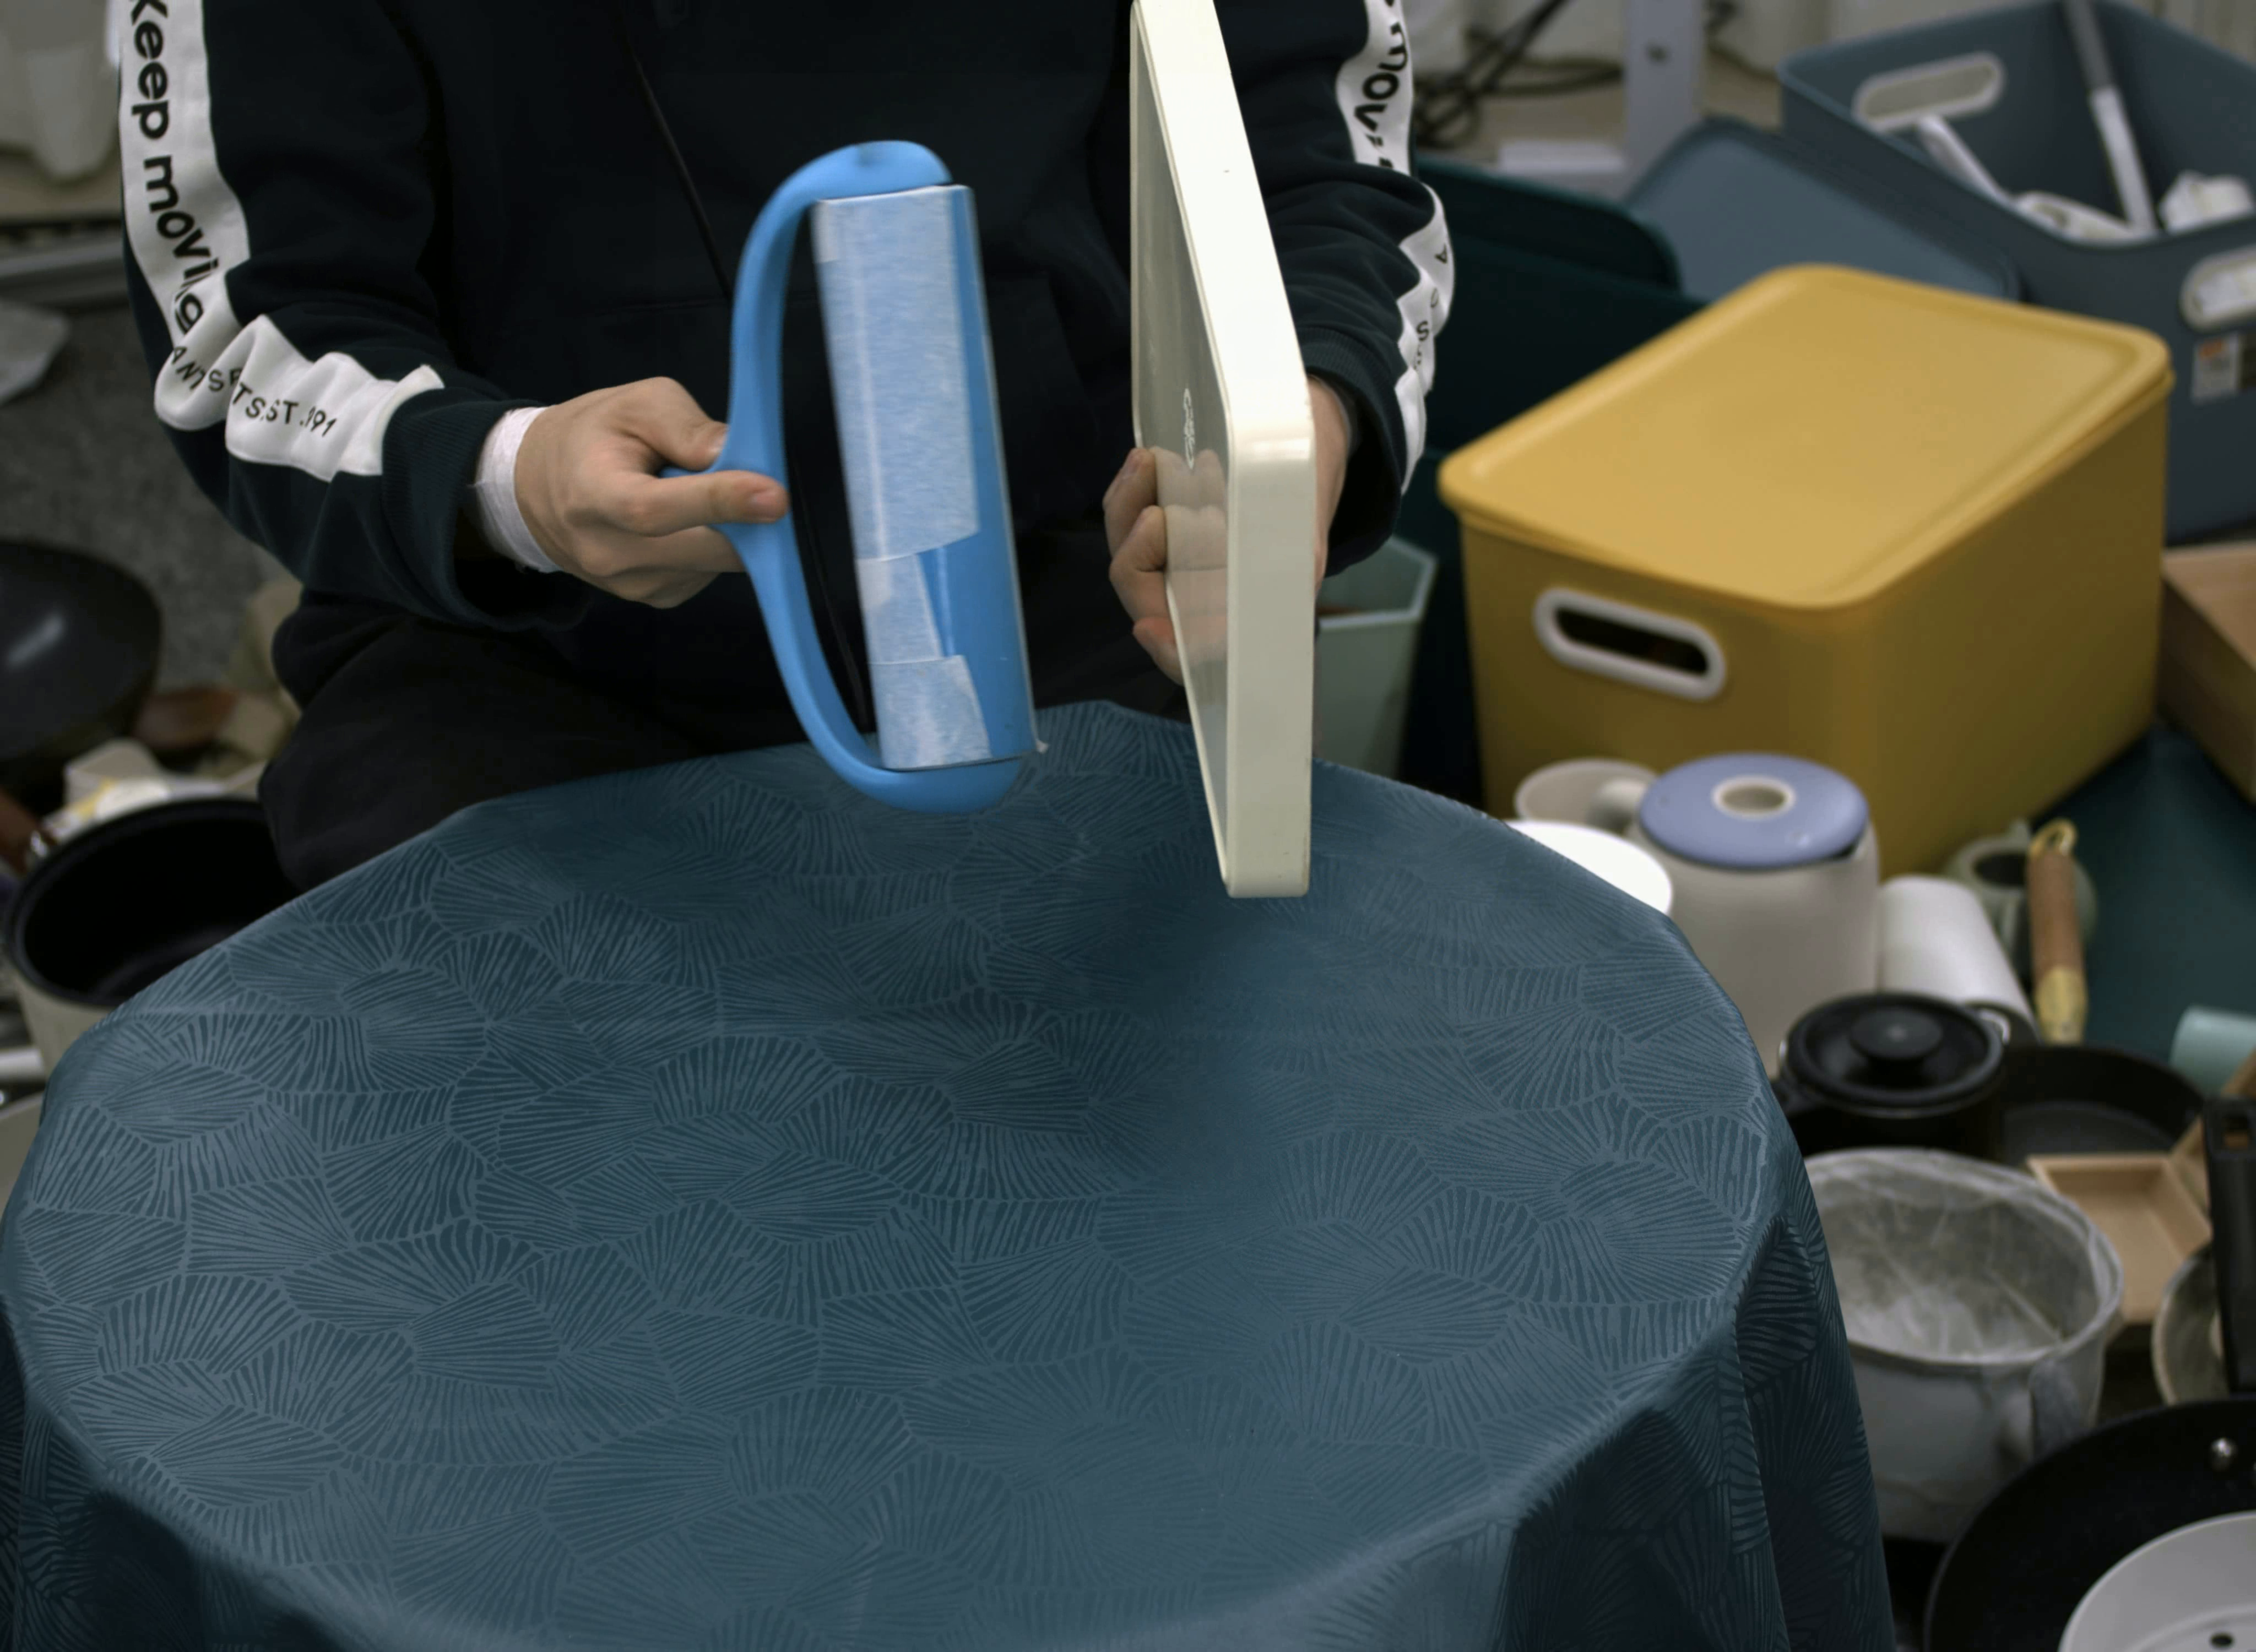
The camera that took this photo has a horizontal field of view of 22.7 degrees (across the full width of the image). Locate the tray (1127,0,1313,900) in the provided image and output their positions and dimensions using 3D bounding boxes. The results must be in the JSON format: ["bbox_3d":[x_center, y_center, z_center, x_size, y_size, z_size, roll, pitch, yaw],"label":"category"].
[{"bbox_3d":[0.028,-0.132,1.876,0.027,0.189,0.305,-3,35,-5],"label":"tray"}]

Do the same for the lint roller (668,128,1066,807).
[{"bbox_3d":[-0.107,-0.114,1.934,0.178,0.229,0.068,-8,4,39],"label":"lint roller"}]
